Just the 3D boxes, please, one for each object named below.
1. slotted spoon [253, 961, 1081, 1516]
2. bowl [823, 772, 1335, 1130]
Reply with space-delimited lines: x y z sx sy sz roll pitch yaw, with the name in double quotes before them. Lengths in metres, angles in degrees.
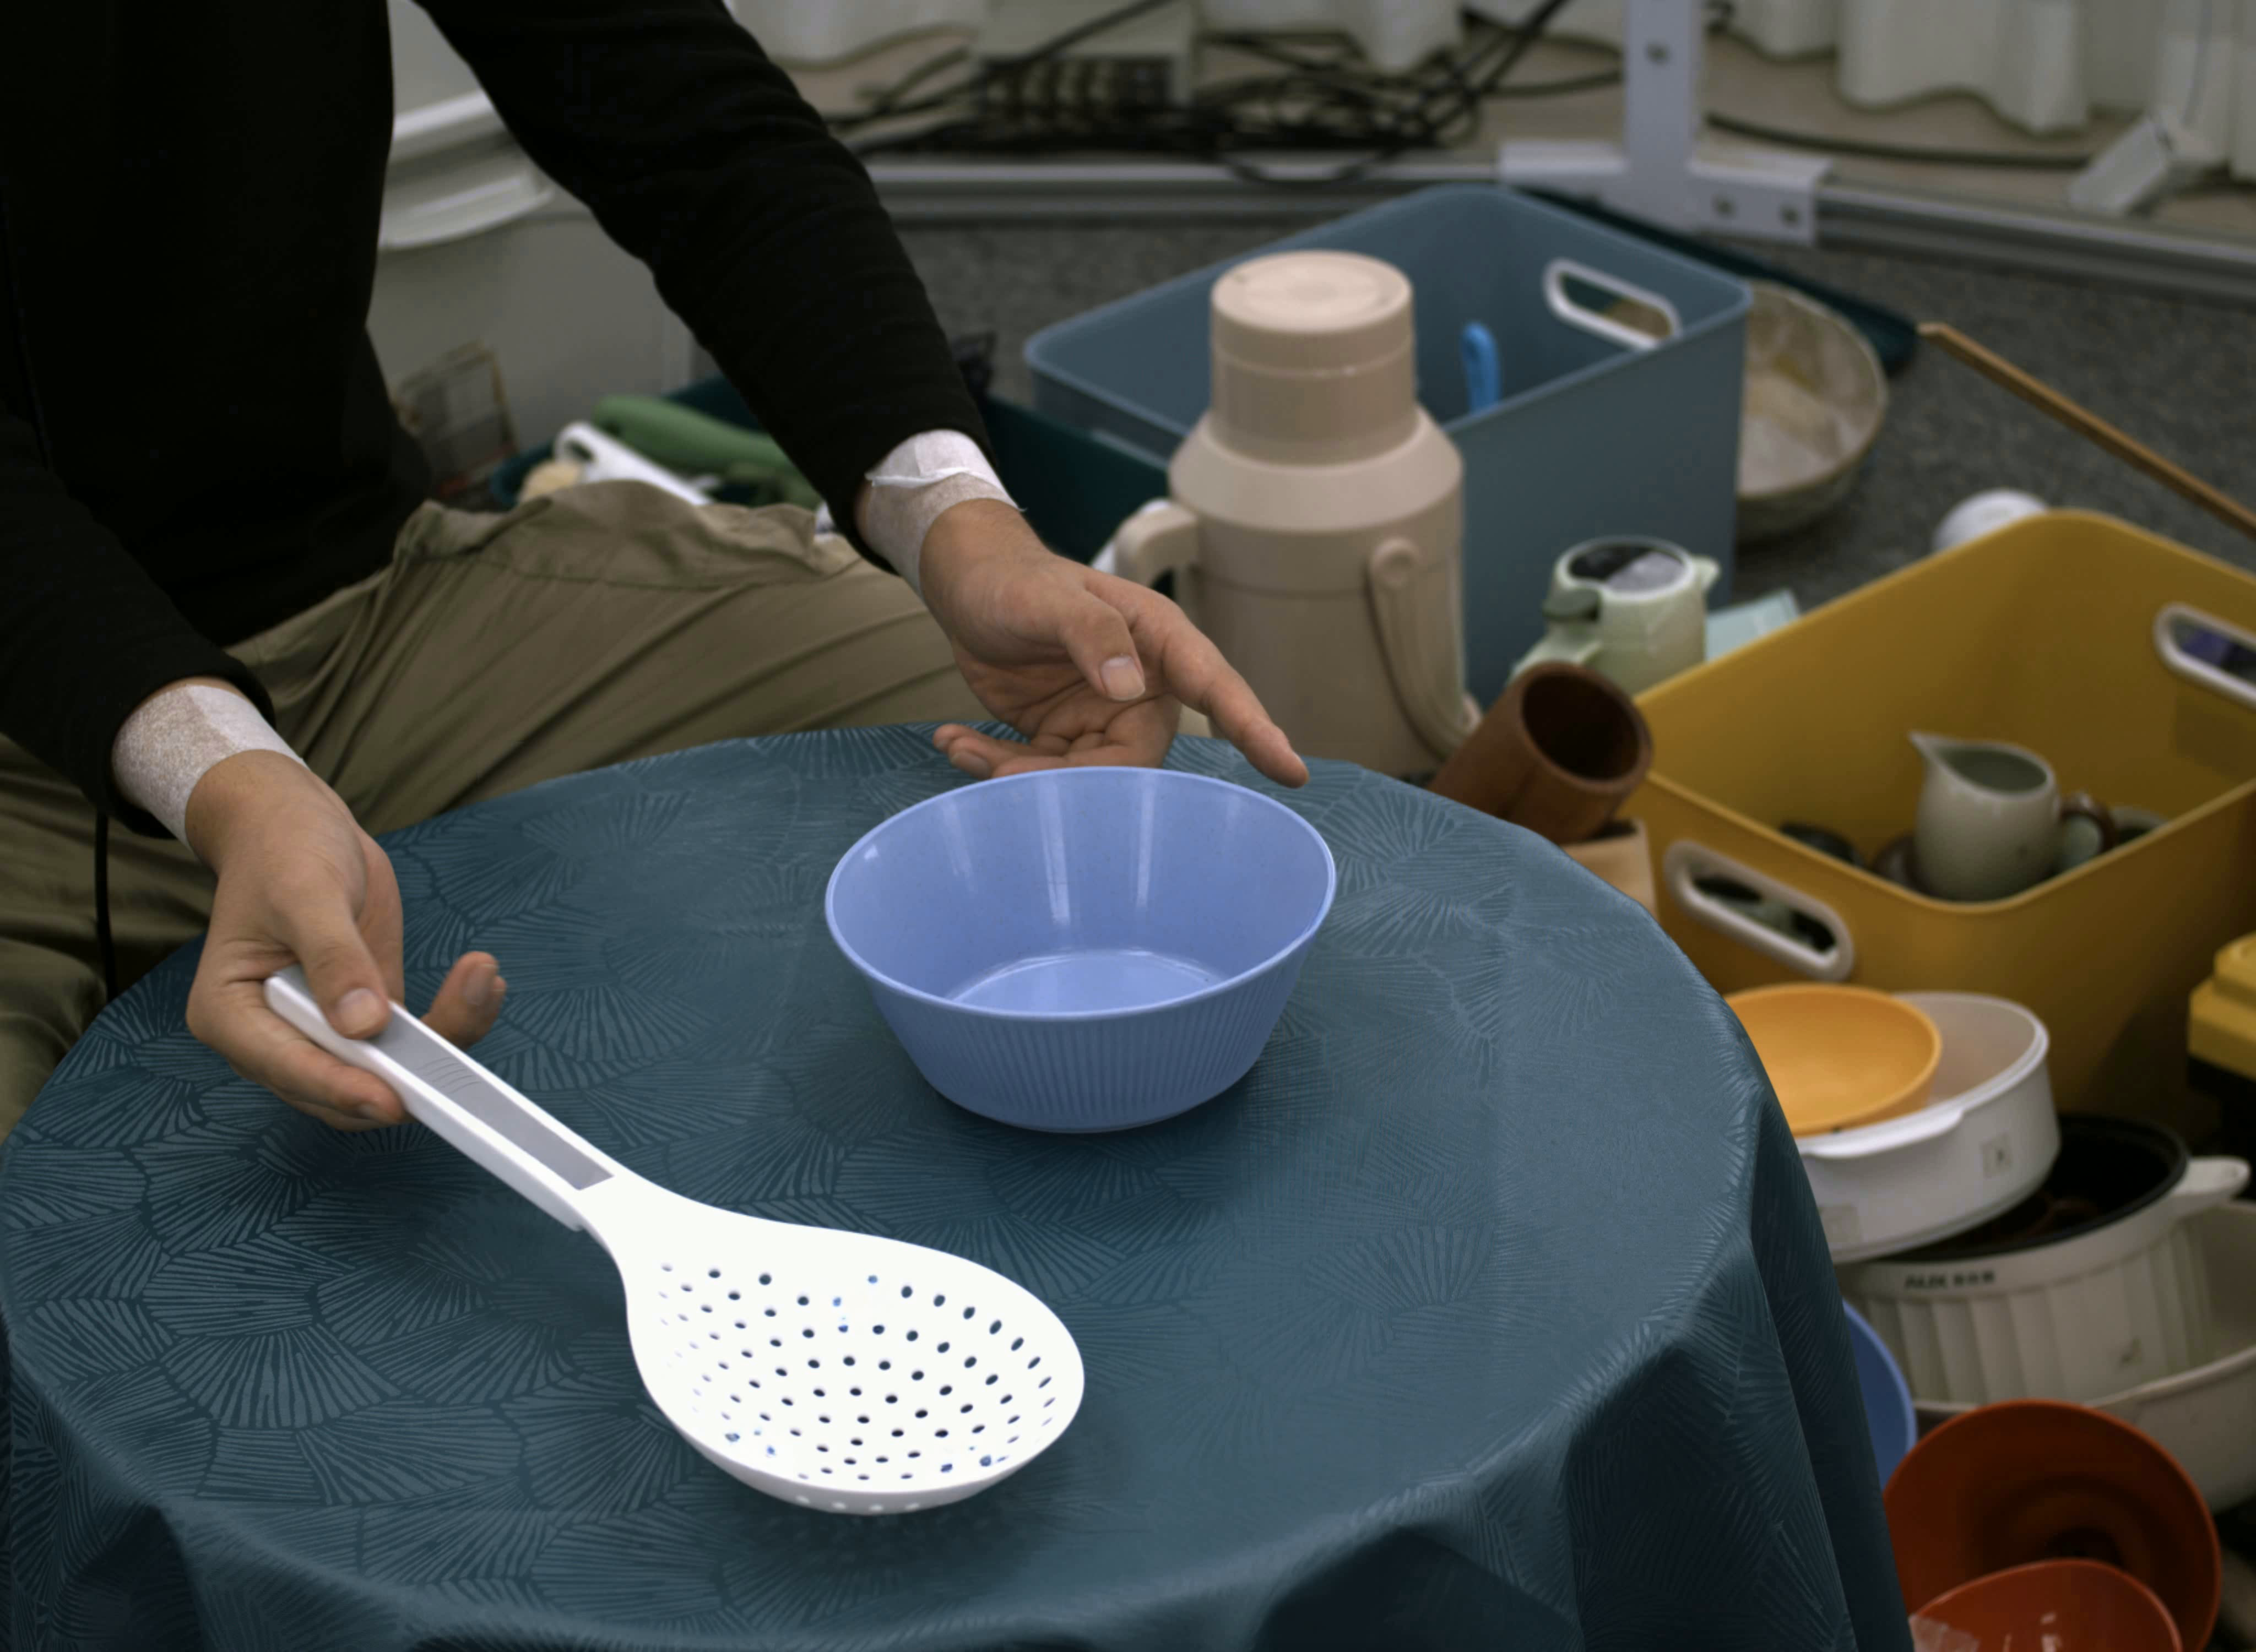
"slotted spoon" -0.159 0.124 1.769 0.350 0.045 0.137 34 39 32
"bowl" -0.015 0.048 1.929 0.175 0.069 0.178 -3 26 2
